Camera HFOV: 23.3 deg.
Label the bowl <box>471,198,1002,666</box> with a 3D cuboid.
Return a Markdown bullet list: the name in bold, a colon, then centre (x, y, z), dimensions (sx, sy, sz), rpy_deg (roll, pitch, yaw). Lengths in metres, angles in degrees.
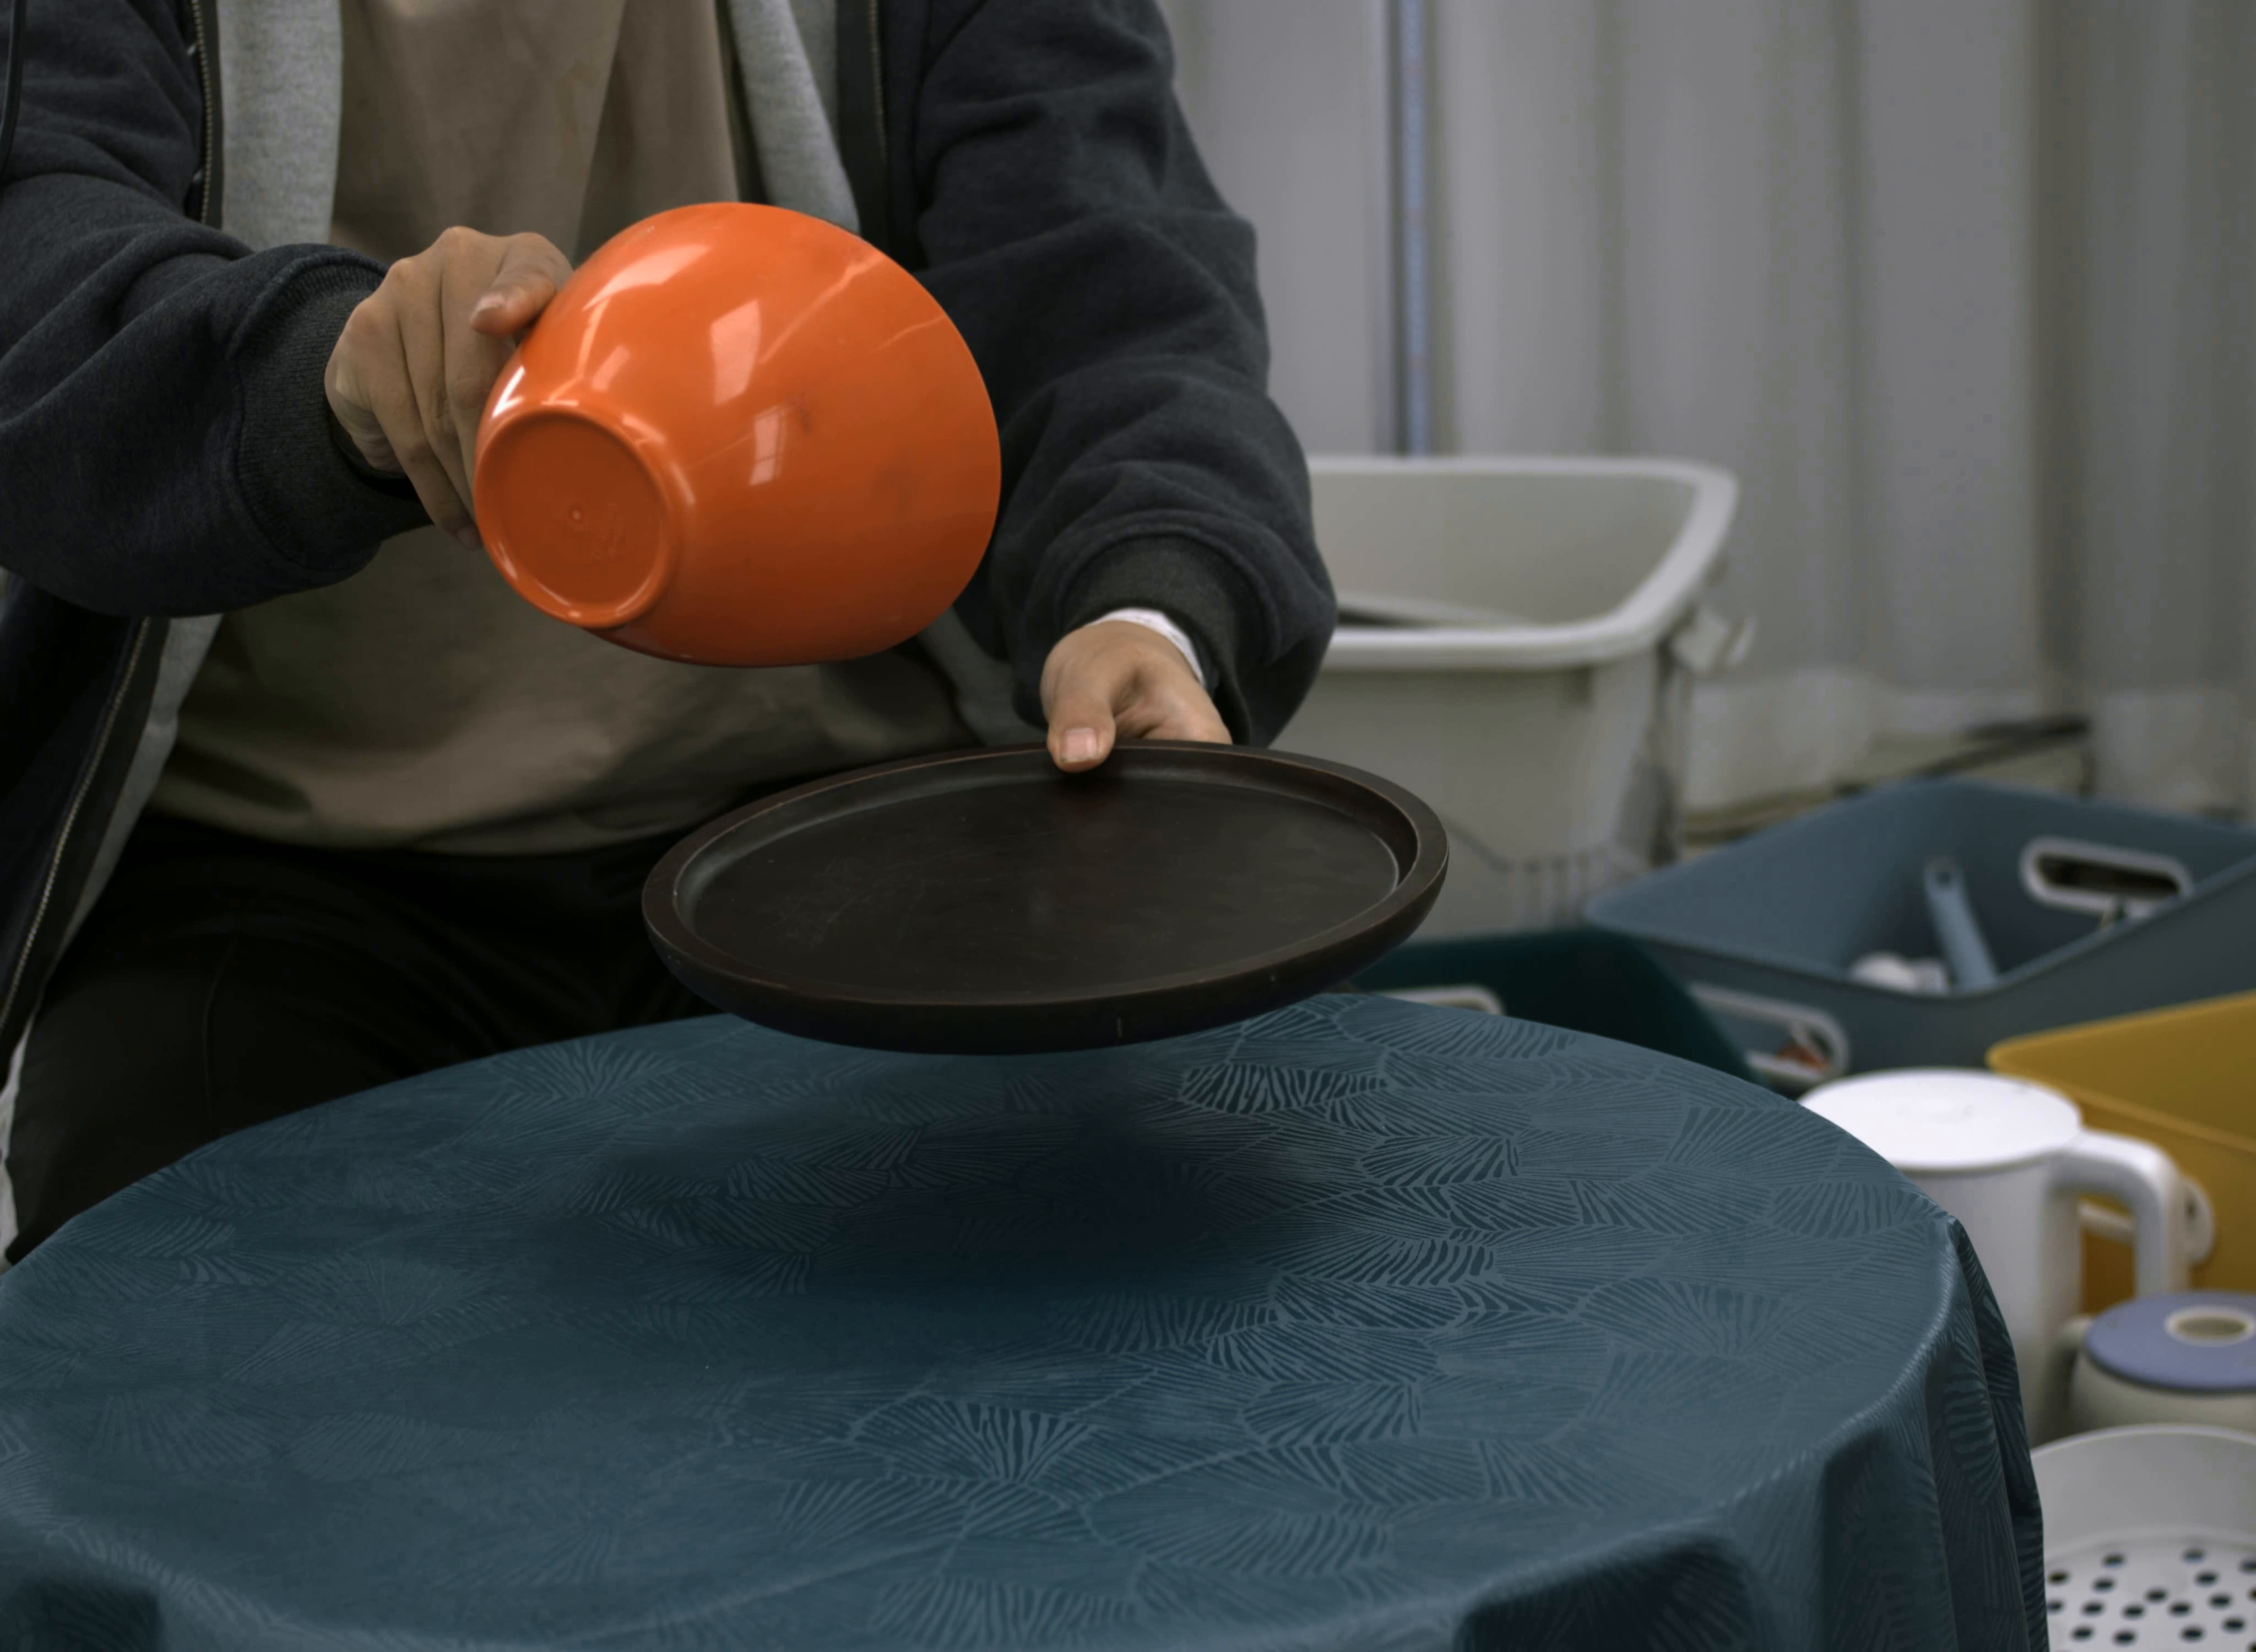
- **bowl**: centre (-0.125, -0.101, 1.591), dimensions (0.148, 0.147, 0.105), rpy_deg (5, 24, 28)

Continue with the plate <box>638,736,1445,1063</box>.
- **plate**: centre (-0.026, 0.020, 1.708), dimensions (0.254, 0.029, 0.257), rpy_deg (-5, 19, 1)
